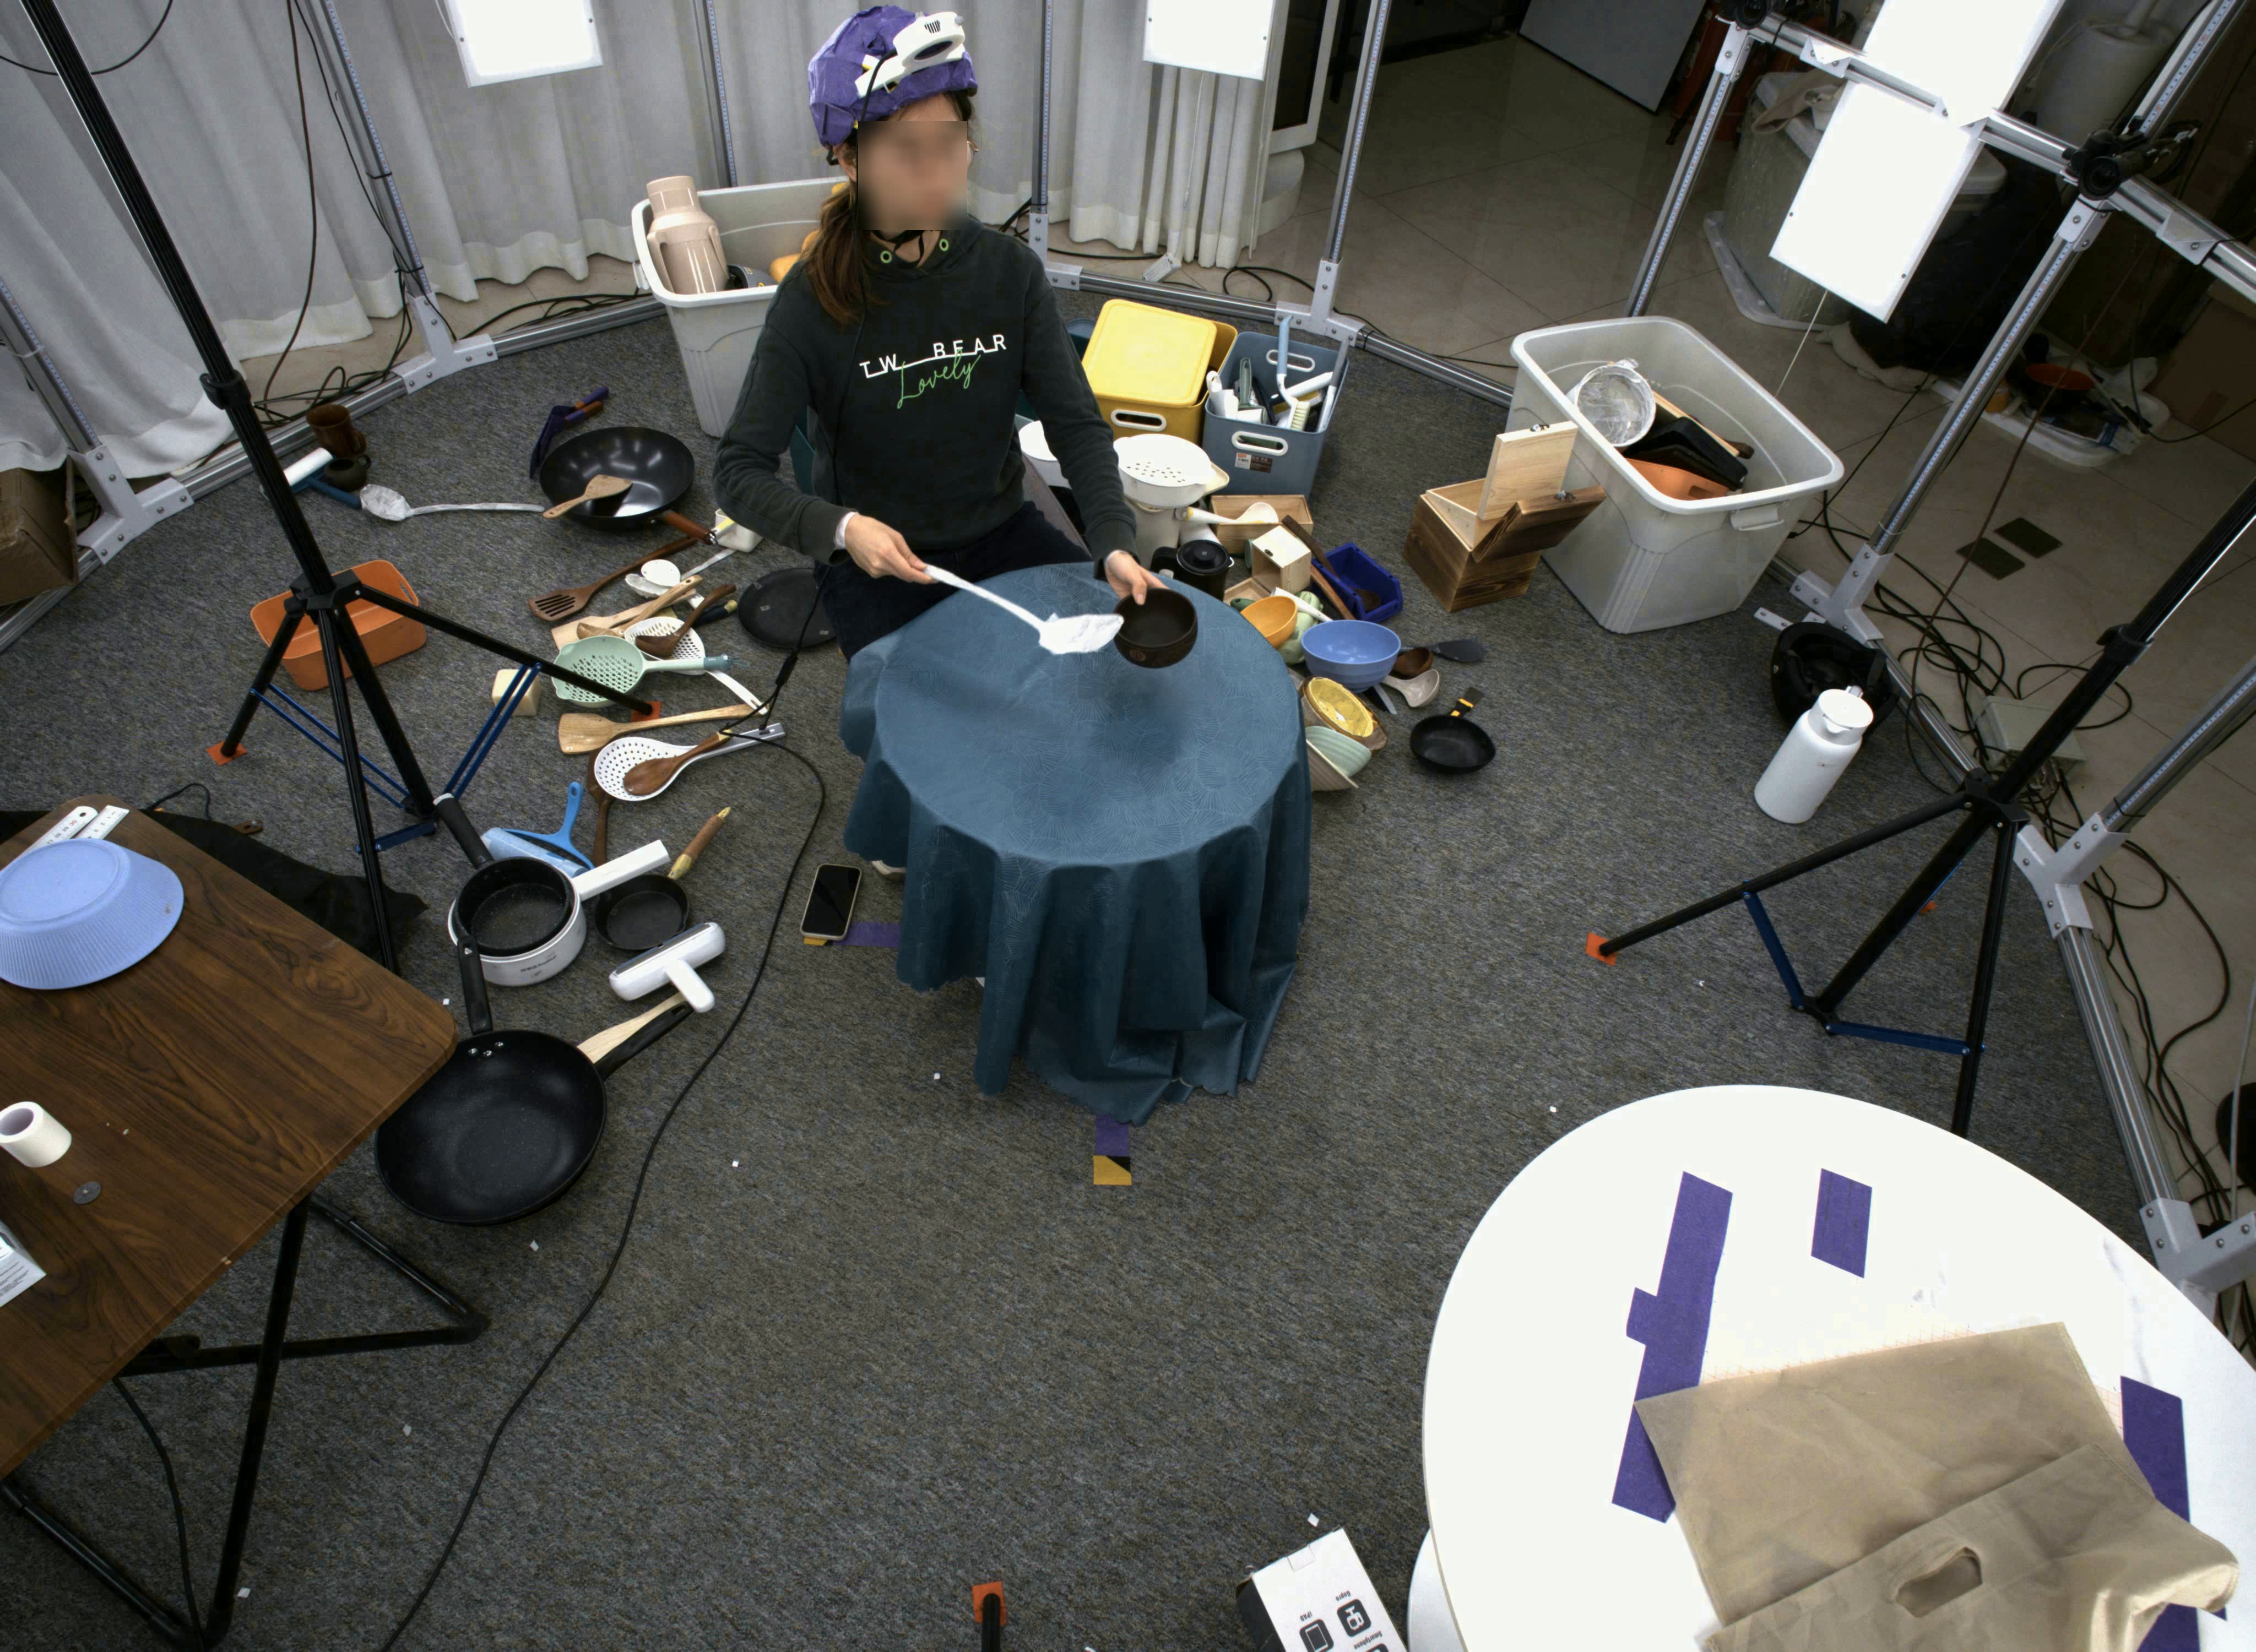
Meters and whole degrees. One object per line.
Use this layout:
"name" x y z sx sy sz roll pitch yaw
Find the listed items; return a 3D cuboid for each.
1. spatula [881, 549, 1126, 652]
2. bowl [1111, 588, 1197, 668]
"spatula" -0.176 -0.307 1.697 0.367 0.044 0.100 25 48 13
"bowl" 0.036 -0.264 1.771 0.118 0.068 0.121 -2 51 2
